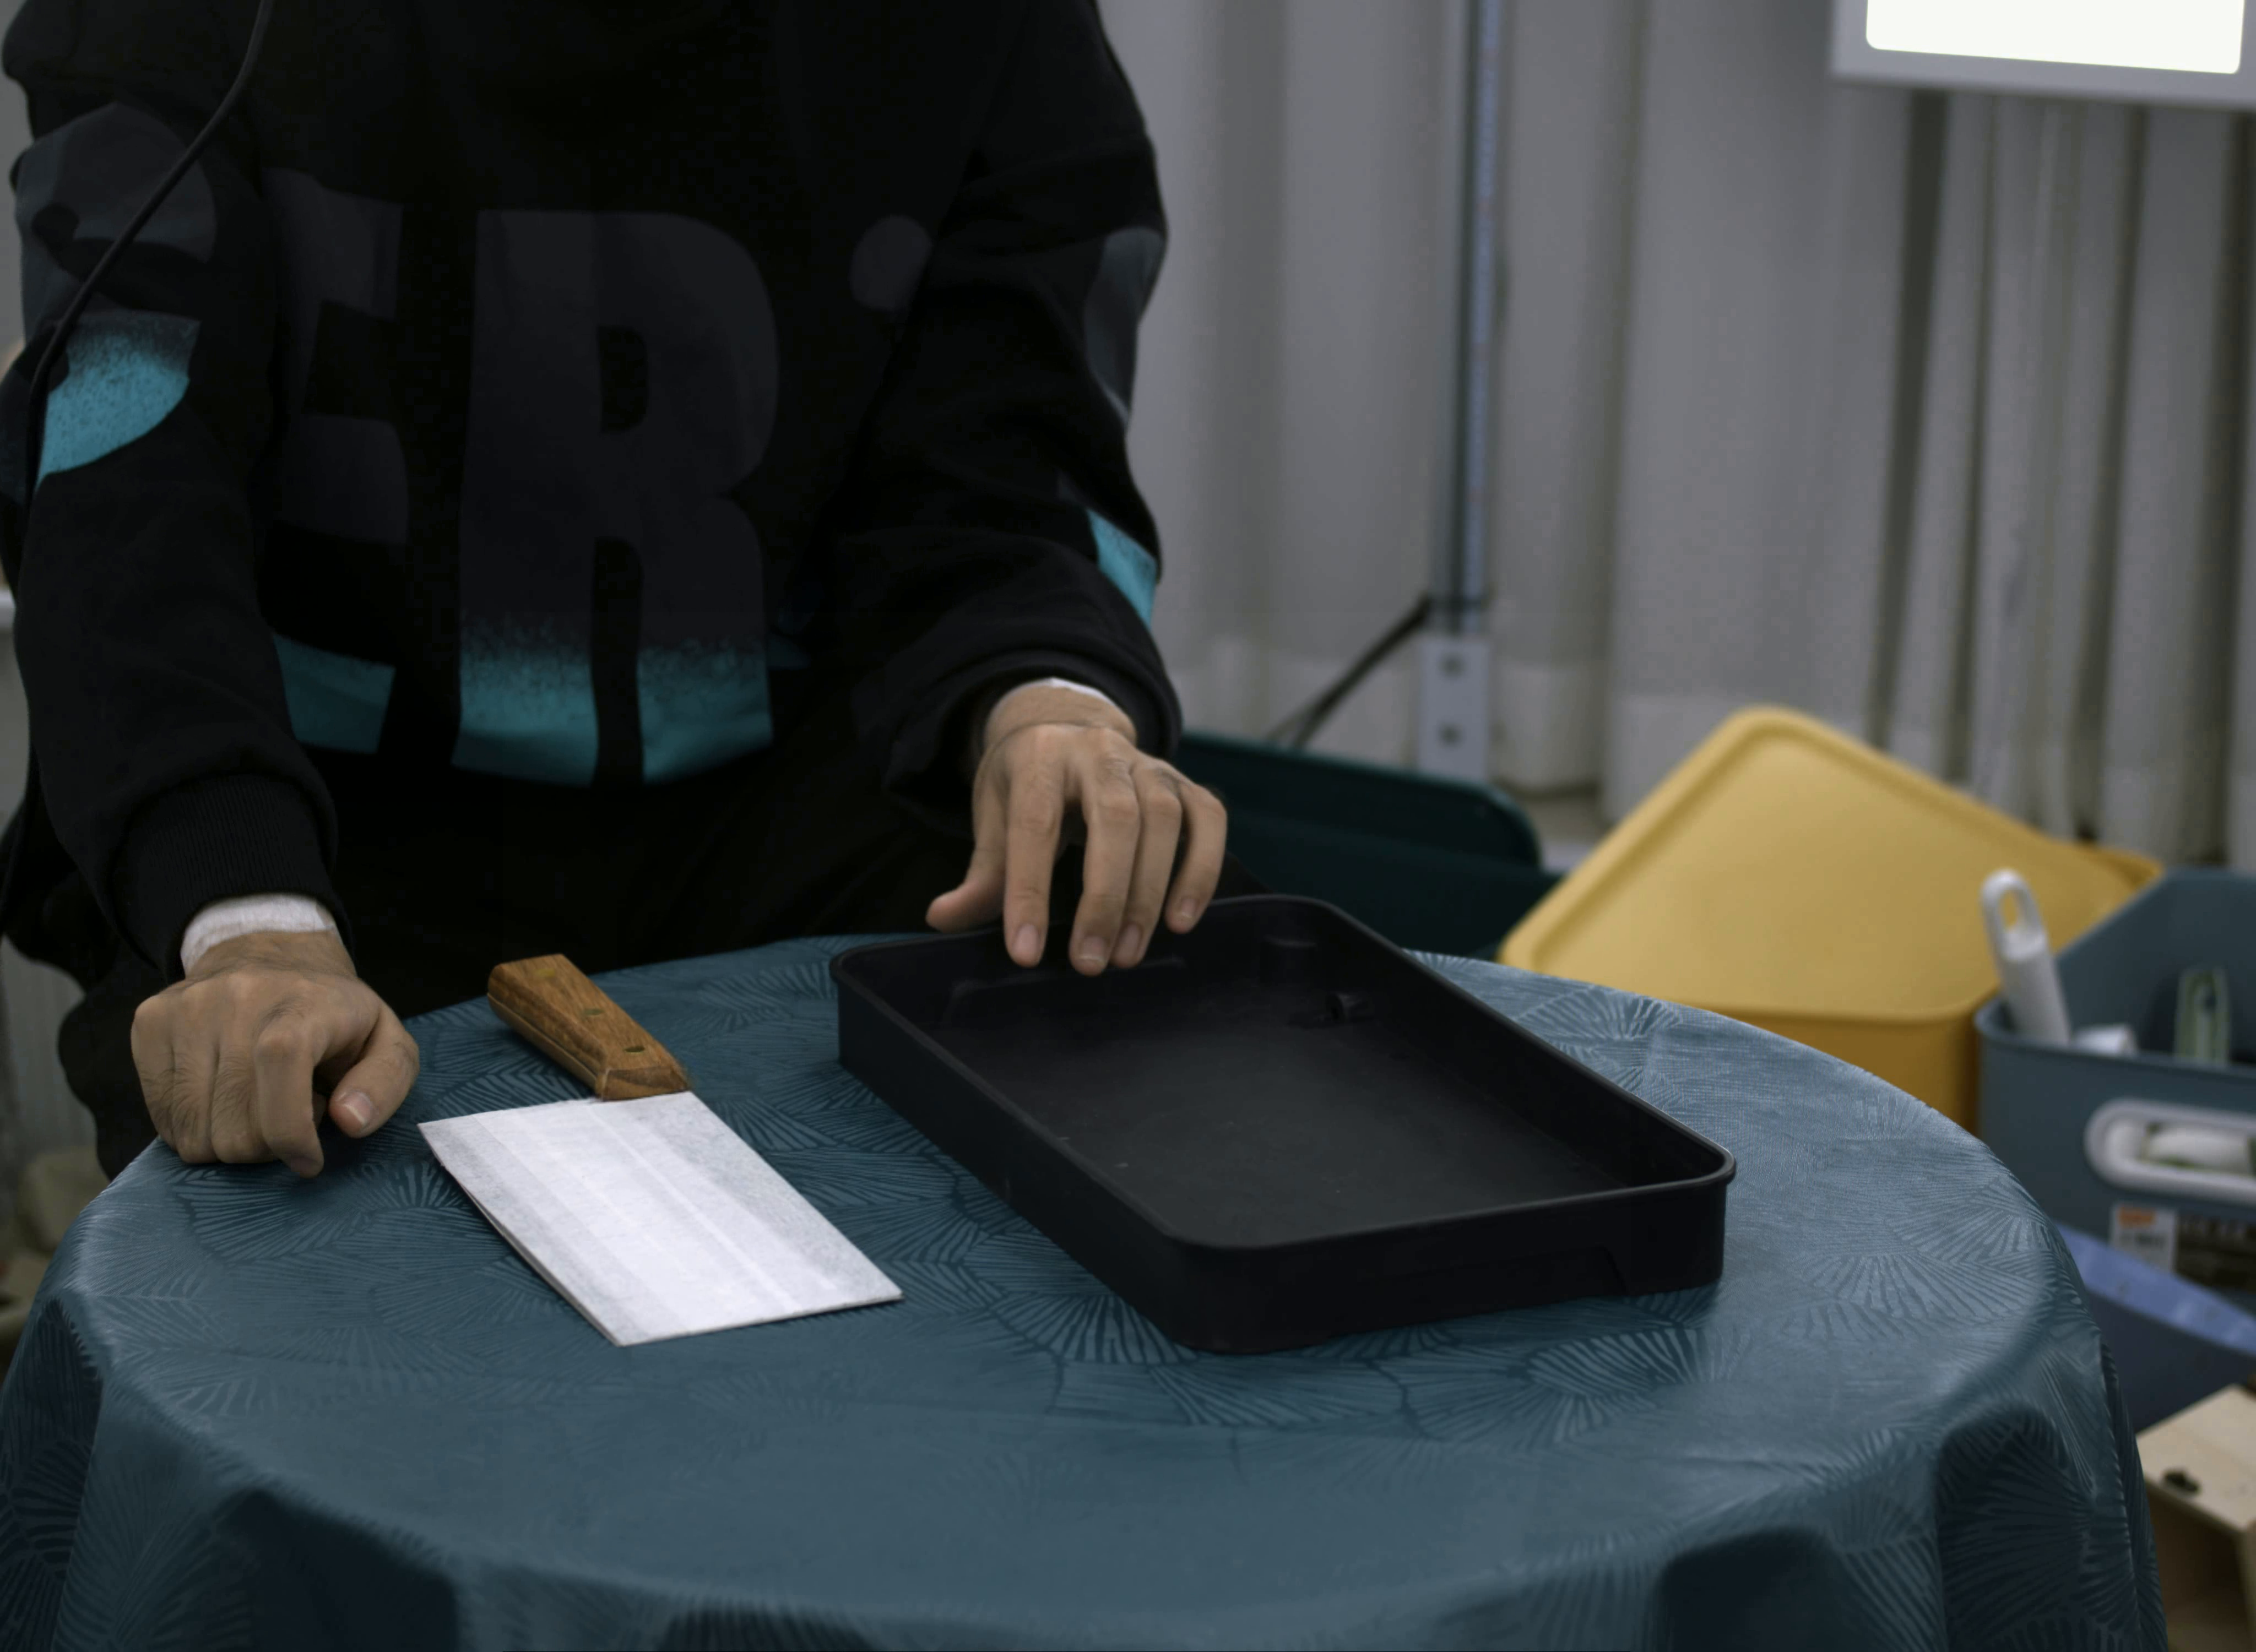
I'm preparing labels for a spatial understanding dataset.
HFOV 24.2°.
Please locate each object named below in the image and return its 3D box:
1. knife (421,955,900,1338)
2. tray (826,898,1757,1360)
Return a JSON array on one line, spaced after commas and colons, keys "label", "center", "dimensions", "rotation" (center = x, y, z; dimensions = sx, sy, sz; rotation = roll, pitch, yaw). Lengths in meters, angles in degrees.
[{"label": "knife", "center": [-0.166, 0.099, 1.639], "dimensions": [0.093, 0.021, 0.302], "rotation": [-8, 20, -23]}, {"label": "tray", "center": [0.043, 0.088, 1.642], "dimensions": [0.185, 0.037, 0.314], "rotation": [-7, 17, -24]}]
